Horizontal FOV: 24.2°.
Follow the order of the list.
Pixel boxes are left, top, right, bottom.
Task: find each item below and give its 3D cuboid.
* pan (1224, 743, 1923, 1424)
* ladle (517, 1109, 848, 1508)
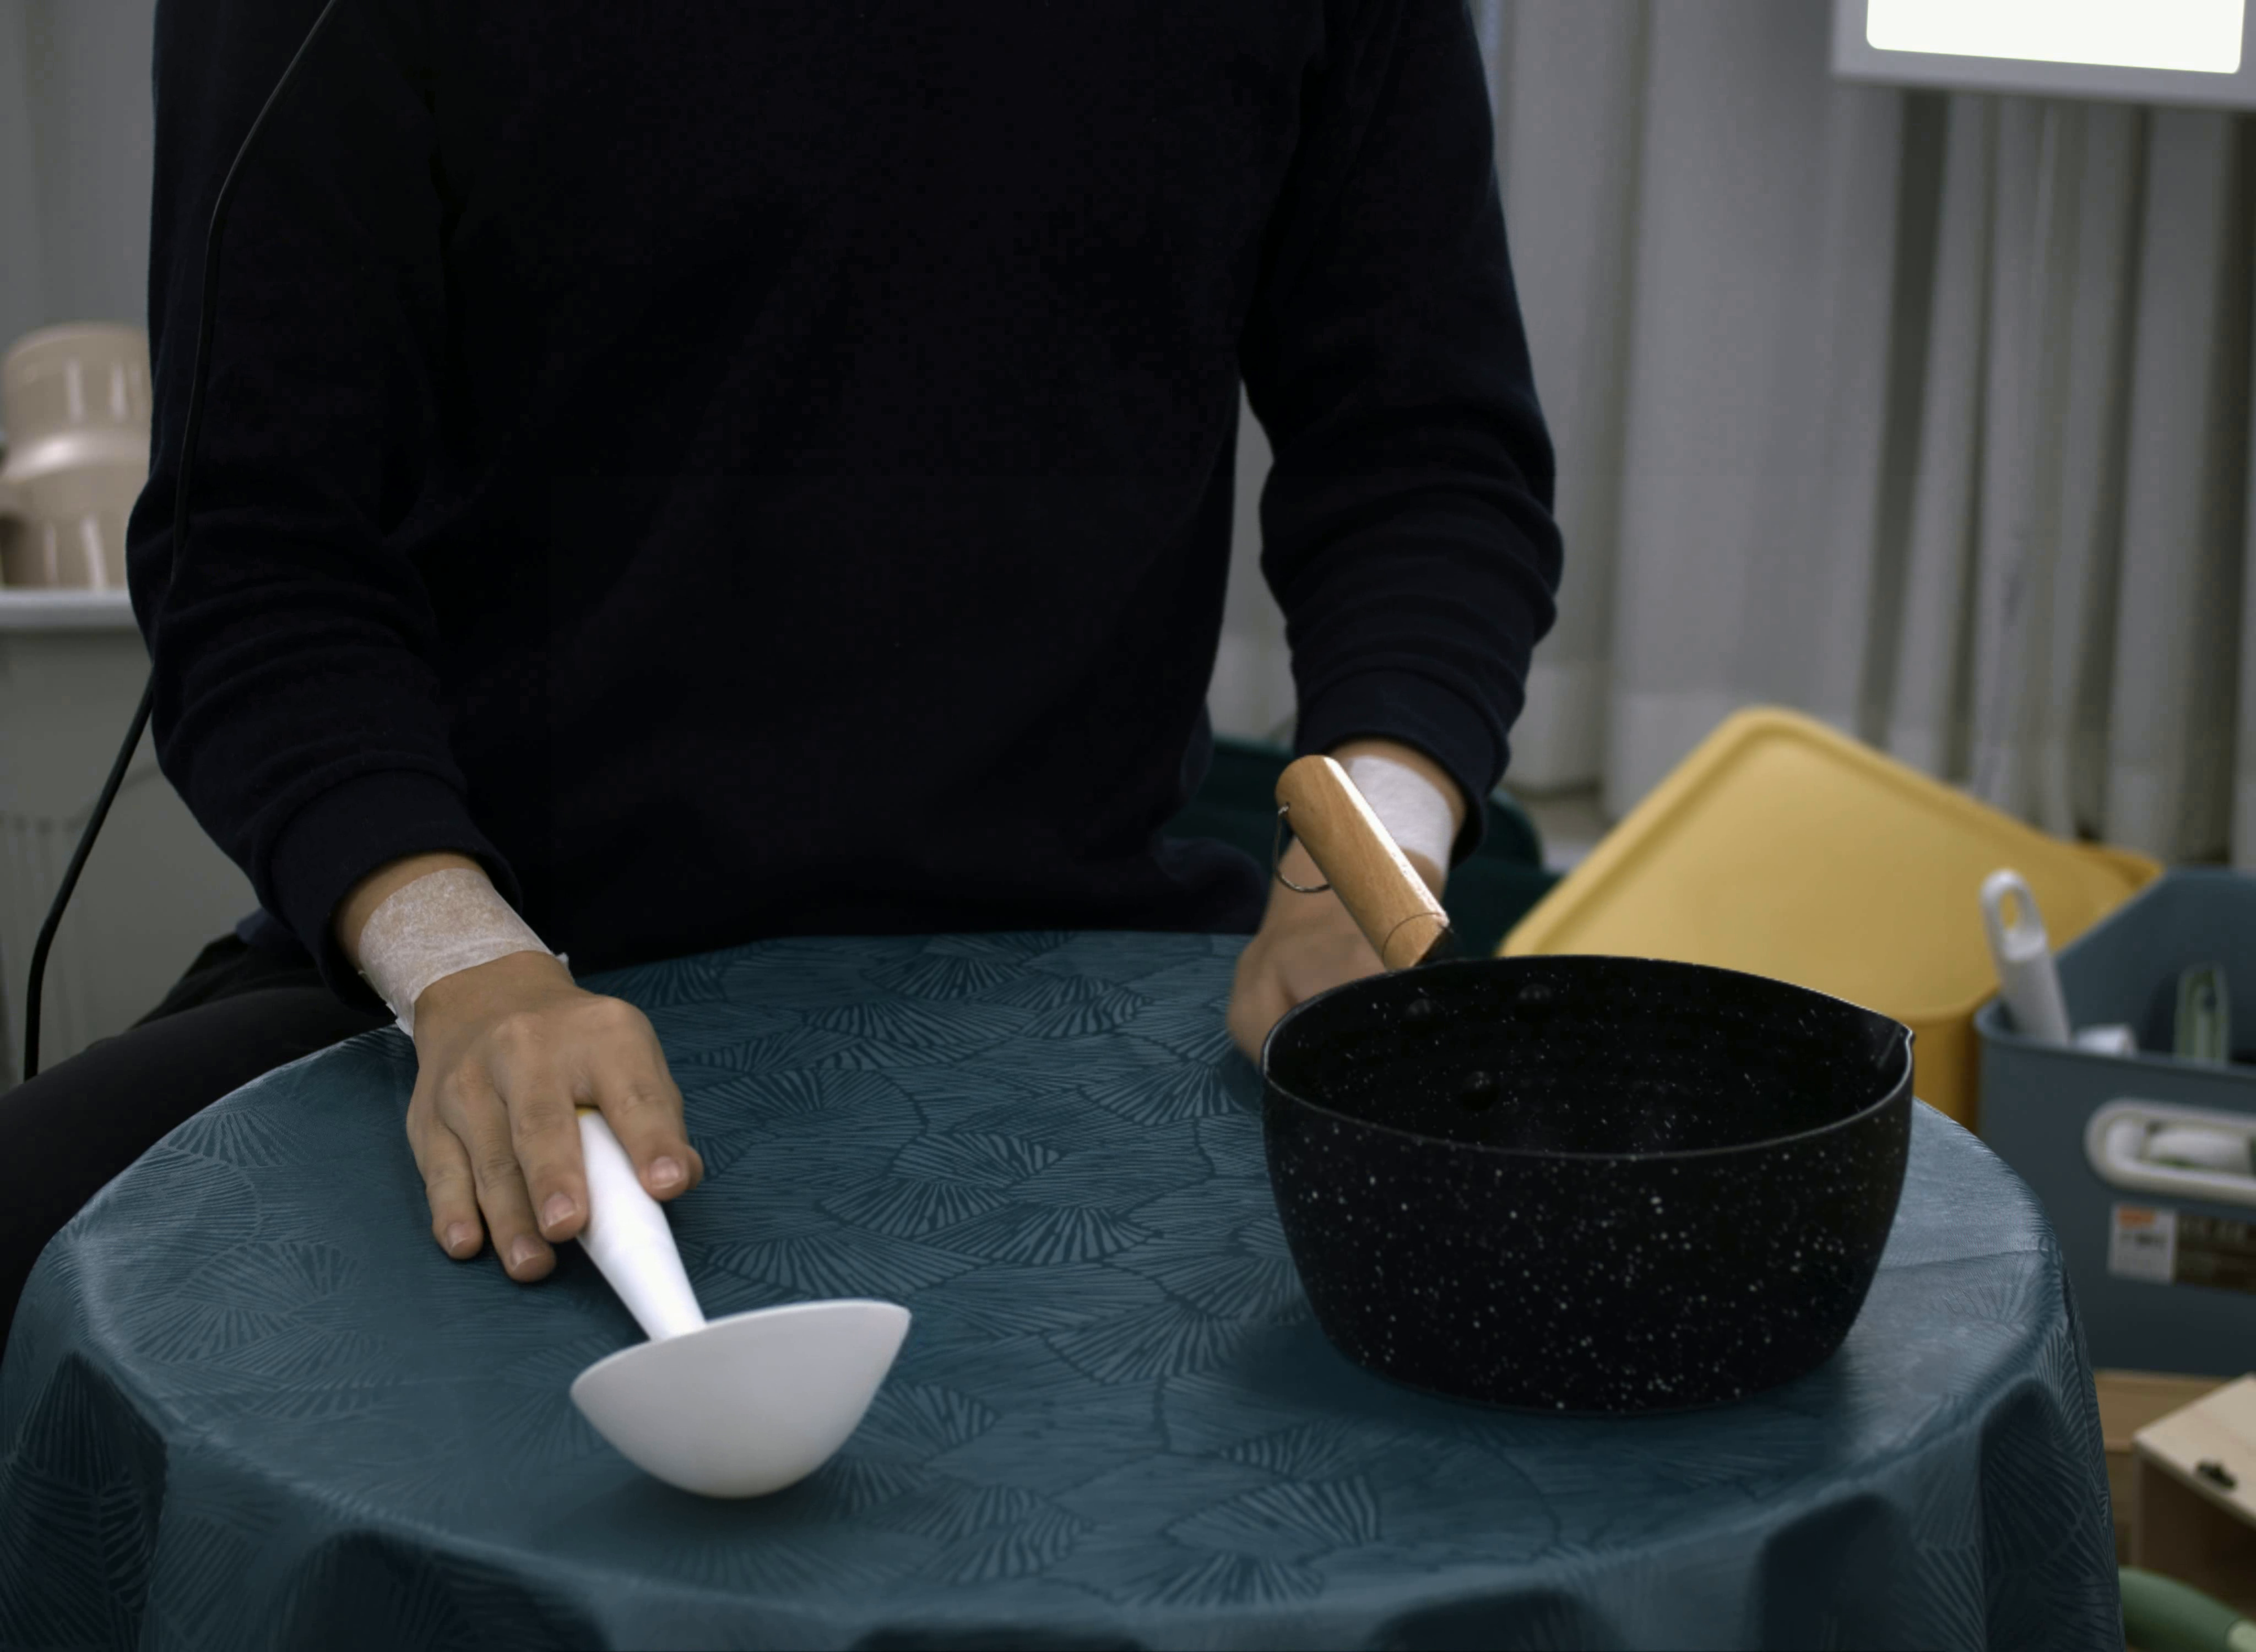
[{"bbox_3d":[0.106,0.071,1.571,0.208,0.109,0.339,-6,18,-17],"label":"pan"},{"bbox_3d":[-0.140,0.120,1.475,0.090,0.070,0.290,-19,19,-9],"label":"ladle"}]
